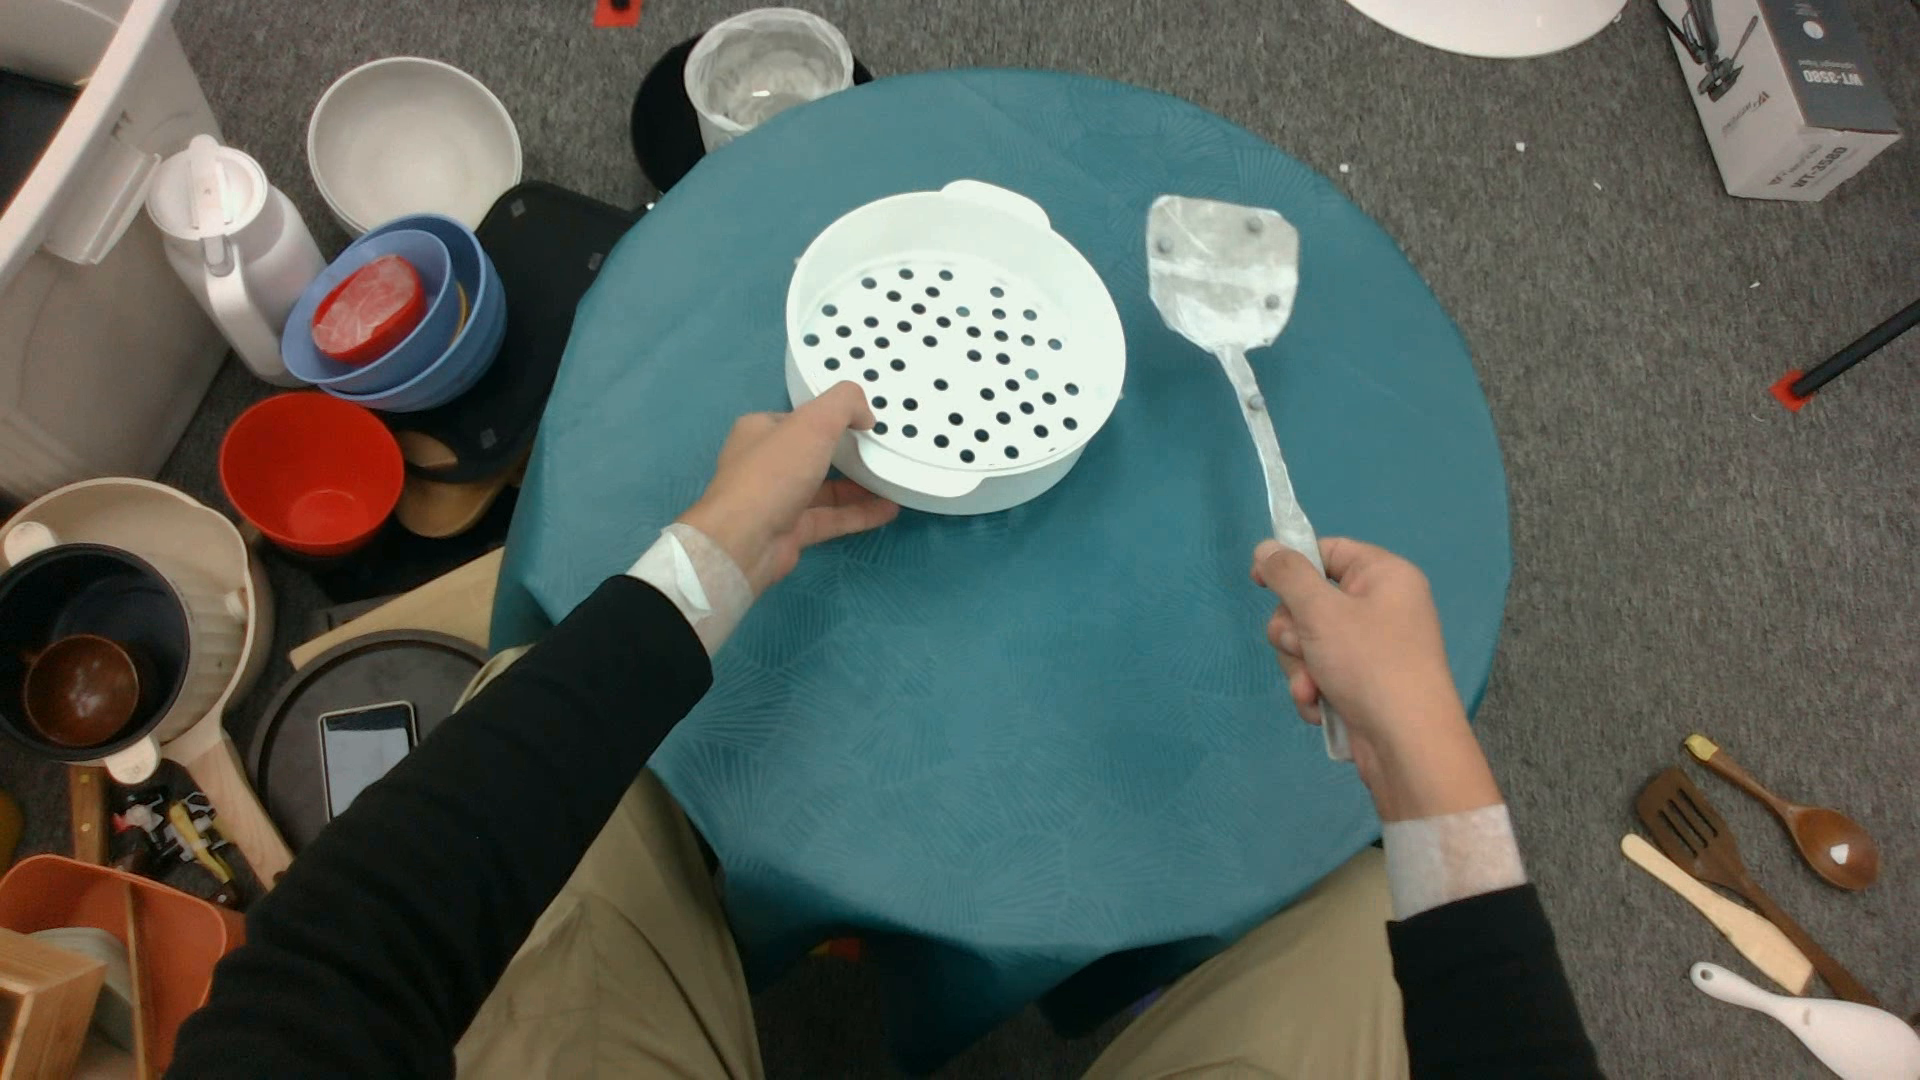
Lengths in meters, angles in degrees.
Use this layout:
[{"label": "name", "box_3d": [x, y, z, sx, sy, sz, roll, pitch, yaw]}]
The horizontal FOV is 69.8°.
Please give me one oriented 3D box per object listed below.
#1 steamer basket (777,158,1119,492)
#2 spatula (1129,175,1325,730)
[{"label": "steamer basket", "box_3d": [-0.010, -0.123, 0.822, 0.202, 0.069, 0.231, 17, 60, -3]}, {"label": "spatula", "box_3d": [0.154, -0.065, 0.734, 0.099, 0.044, 0.366, 8, 49, -15]}]
